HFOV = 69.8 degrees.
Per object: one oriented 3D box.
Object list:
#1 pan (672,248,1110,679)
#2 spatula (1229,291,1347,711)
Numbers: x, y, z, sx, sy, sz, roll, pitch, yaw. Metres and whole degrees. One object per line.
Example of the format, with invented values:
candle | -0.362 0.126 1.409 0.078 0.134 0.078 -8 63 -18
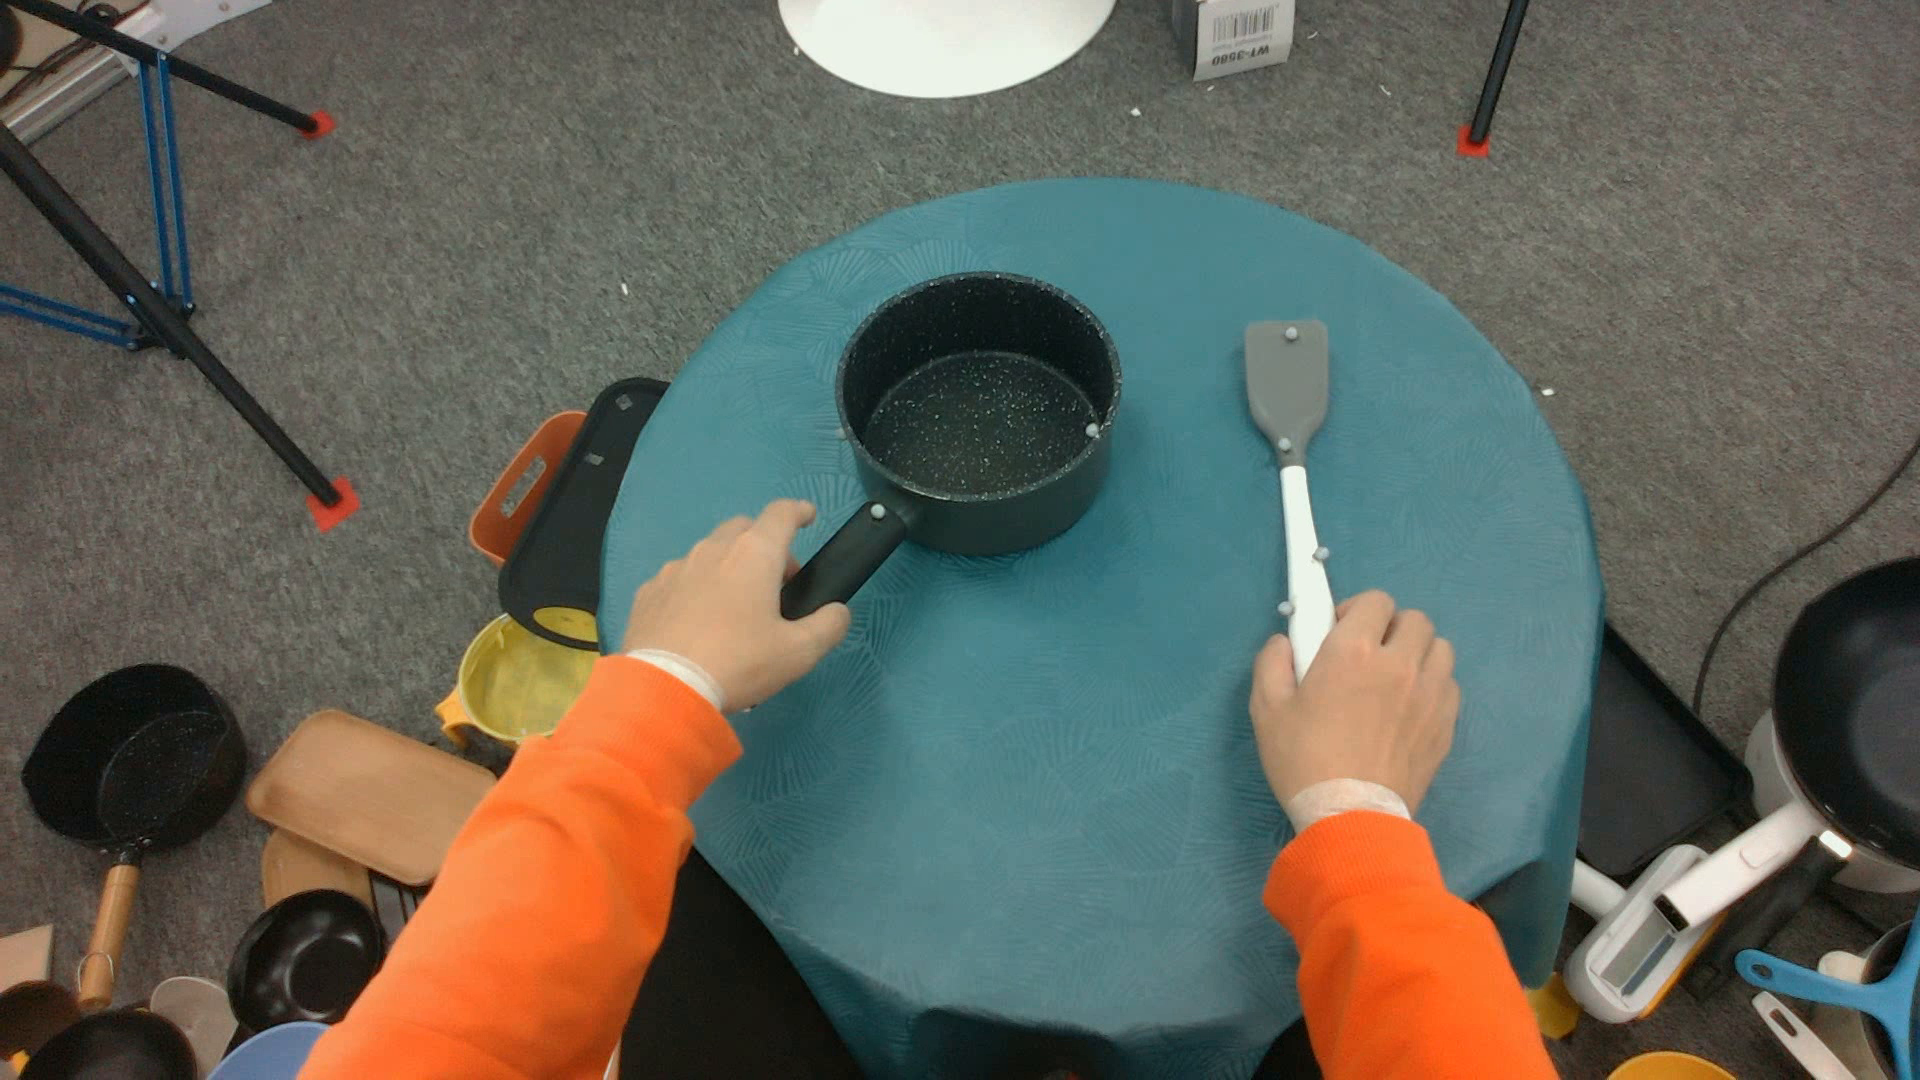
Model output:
pan | -0.041 -0.034 0.809 0.172 0.086 0.330 30 64 20
spatula | 0.198 -0.034 0.825 0.058 0.032 0.289 -4 58 10
